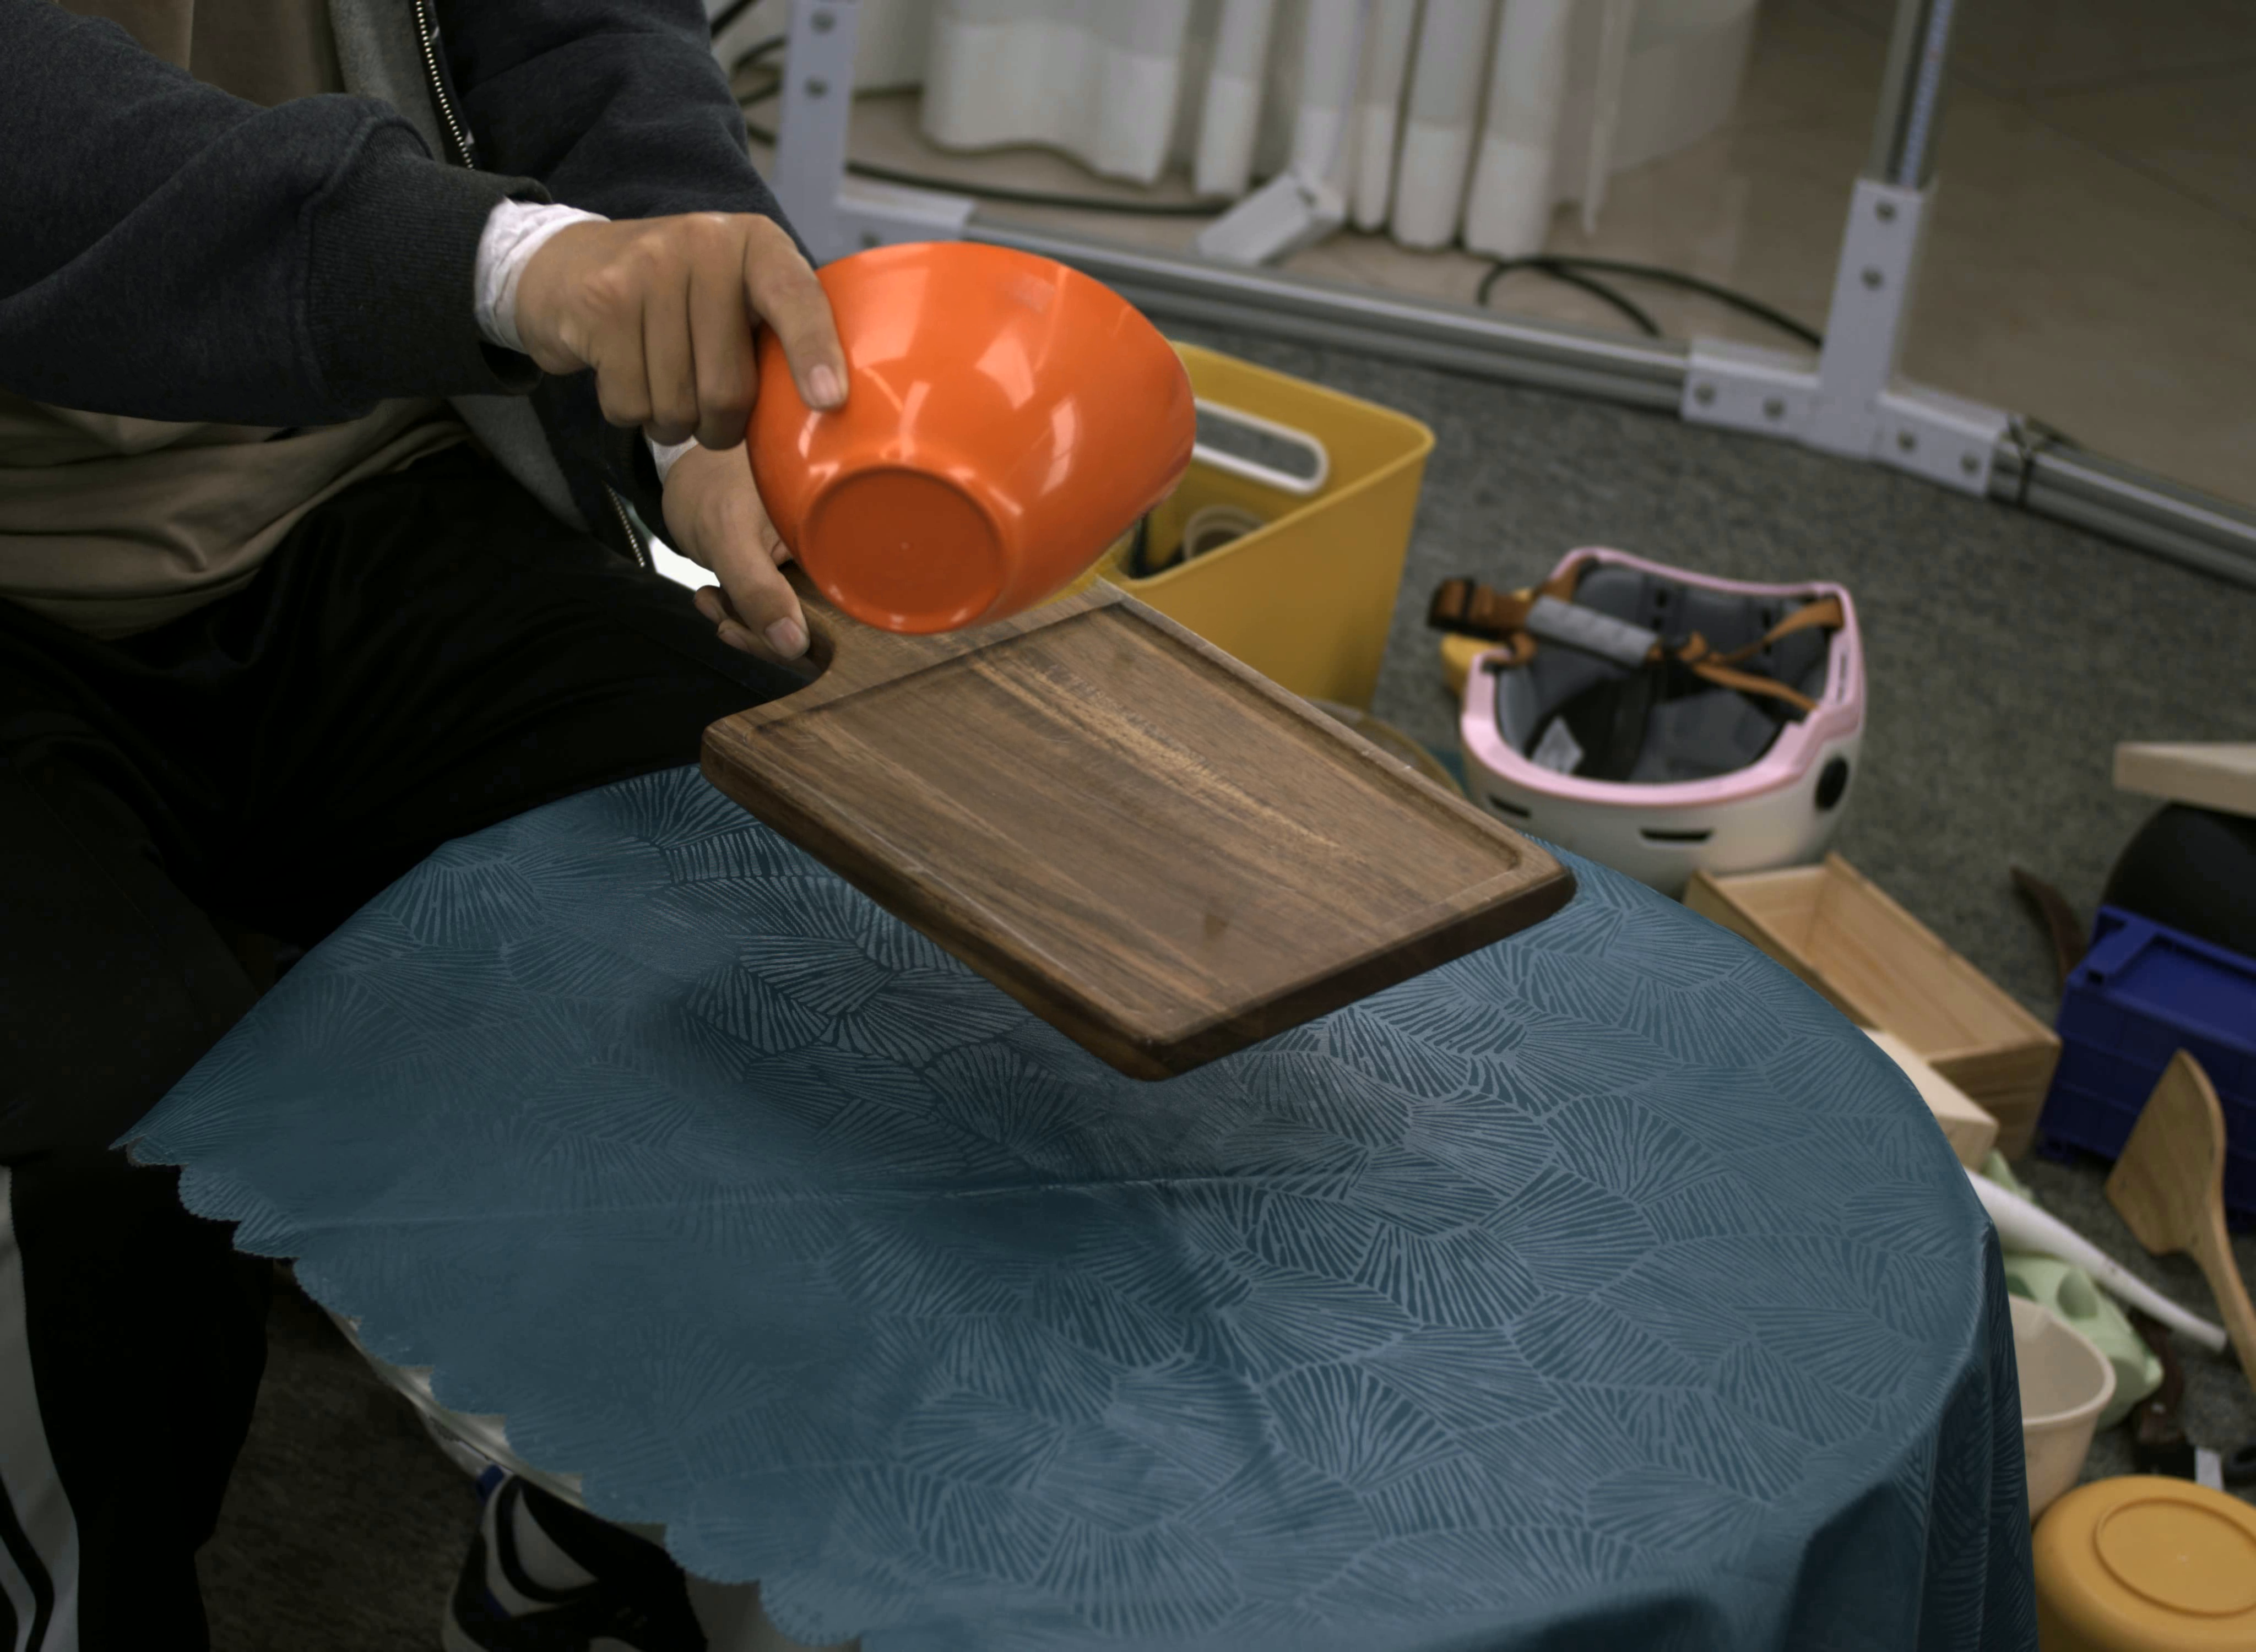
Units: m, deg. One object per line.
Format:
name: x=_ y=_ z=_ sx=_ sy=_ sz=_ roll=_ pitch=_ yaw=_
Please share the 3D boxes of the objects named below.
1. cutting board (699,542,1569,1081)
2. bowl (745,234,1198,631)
cutting board: x=-0.031 y=-0.024 z=1.889 sx=0.200 sy=0.023 sz=0.355 roll=-21 pitch=38 yaw=-35
bowl: x=-0.058 y=-0.110 z=1.695 sx=0.148 sy=0.147 sz=0.105 roll=10 pitch=40 yaw=5
